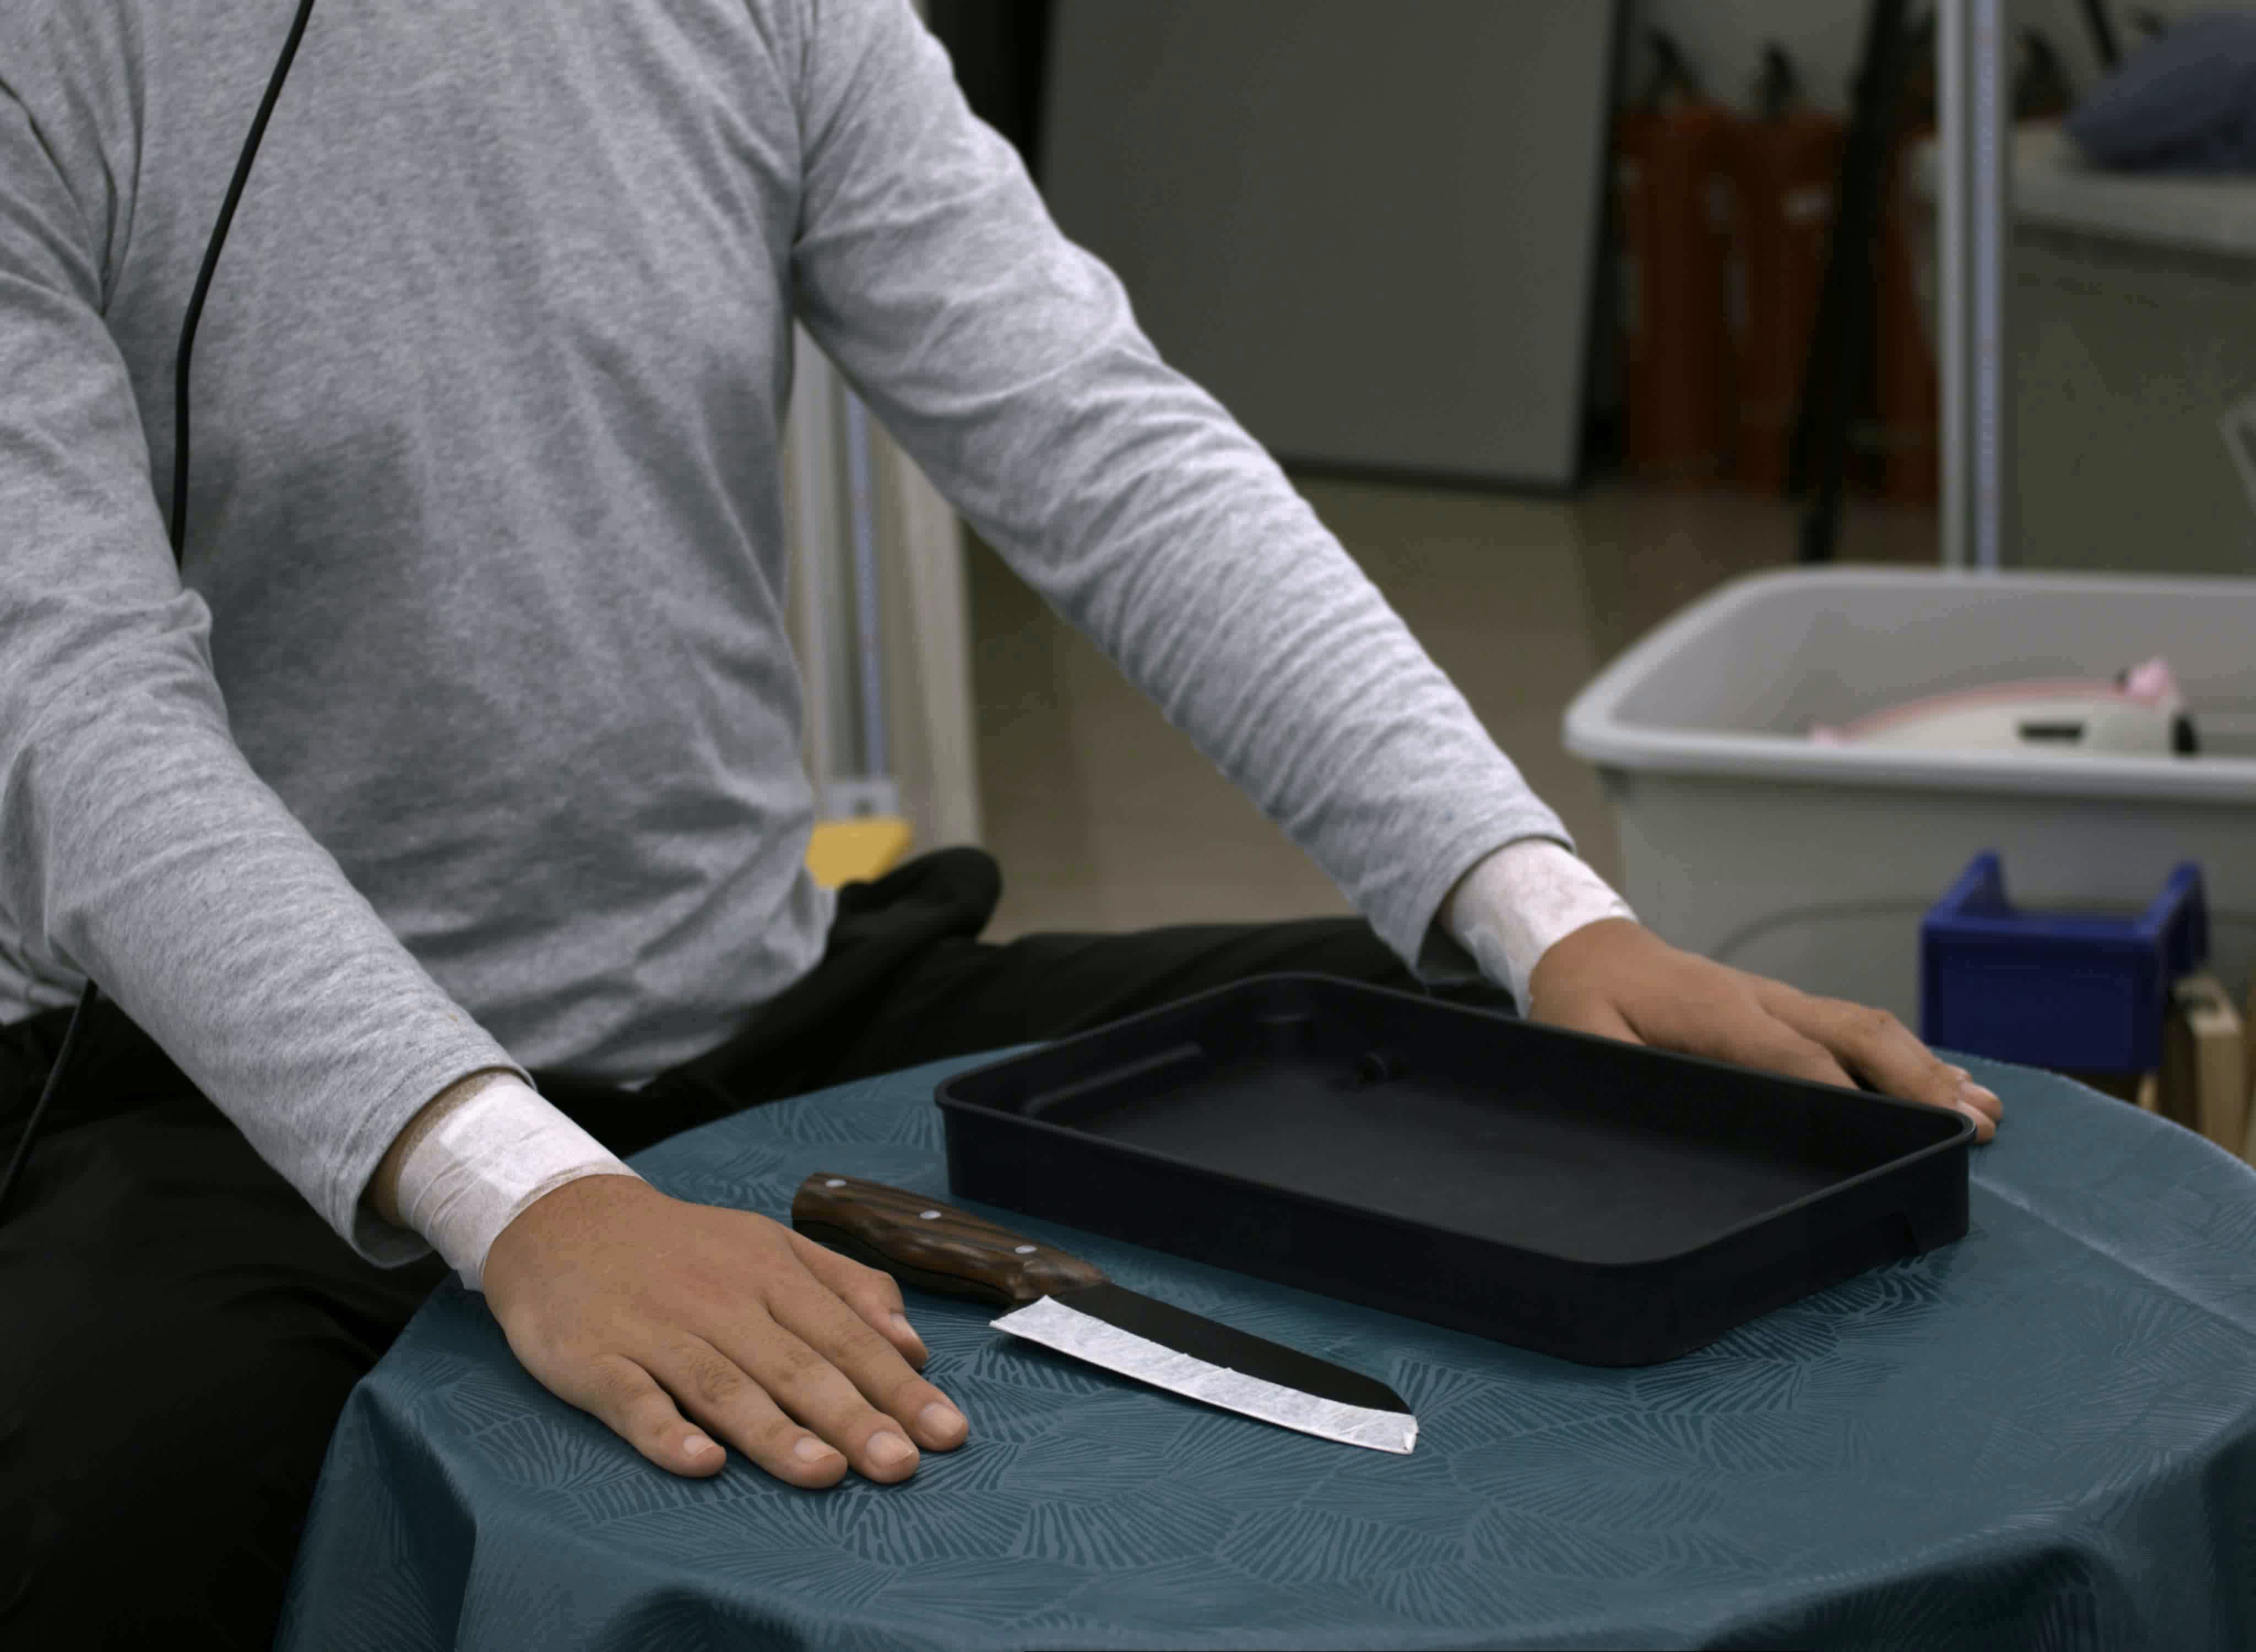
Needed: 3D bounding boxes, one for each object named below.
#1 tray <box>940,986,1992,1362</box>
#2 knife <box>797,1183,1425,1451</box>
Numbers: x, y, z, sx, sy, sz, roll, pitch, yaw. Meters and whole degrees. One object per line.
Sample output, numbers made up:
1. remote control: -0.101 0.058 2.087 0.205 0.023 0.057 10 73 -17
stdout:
1. tray: 0.105 0.107 1.728 0.321 0.037 0.180 8 18 44
2. knife: -0.009 0.150 1.631 0.049 0.020 0.292 -20 23 -35
